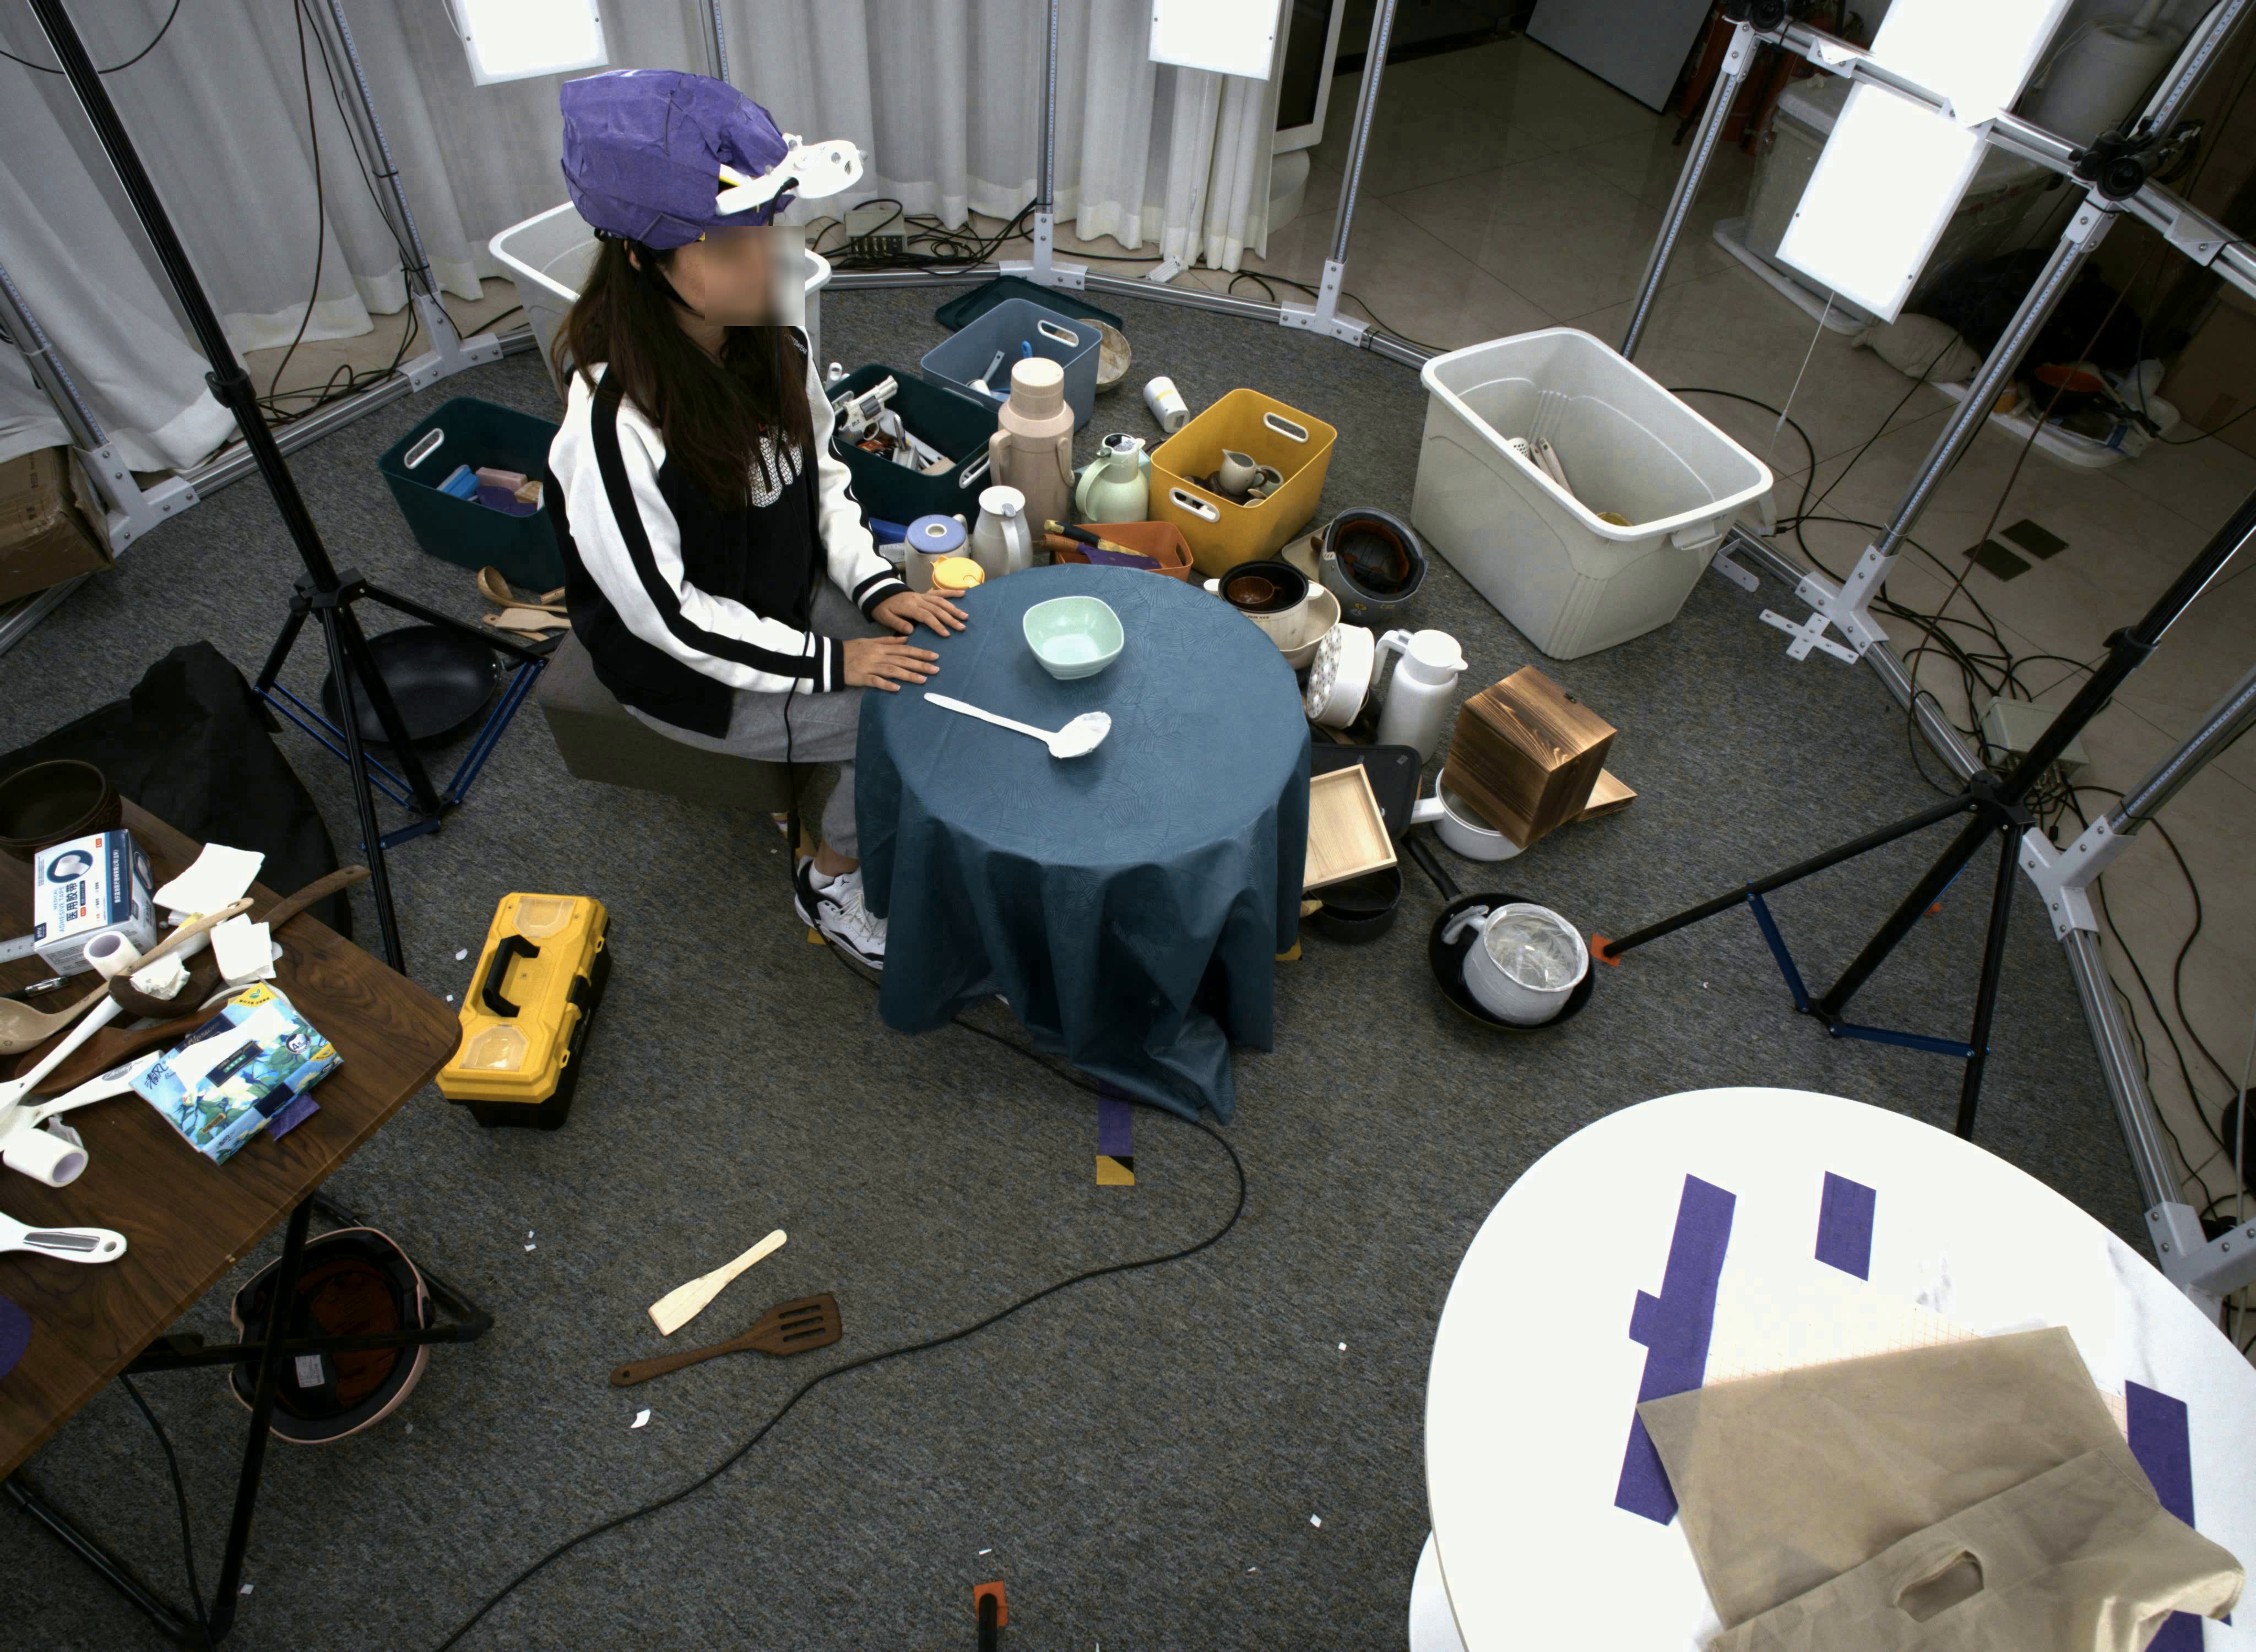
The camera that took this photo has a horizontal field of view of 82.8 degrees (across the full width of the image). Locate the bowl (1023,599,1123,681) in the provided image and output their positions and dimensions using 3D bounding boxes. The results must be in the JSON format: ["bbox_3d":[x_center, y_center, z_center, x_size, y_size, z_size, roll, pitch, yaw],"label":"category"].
[{"bbox_3d":[-0.080,-0.261,1.858,0.151,0.057,0.155,2,49,-2],"label":"bowl"}]

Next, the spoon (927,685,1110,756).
[{"bbox_3d":[-0.154,-0.163,1.764,0.279,0.058,0.102,23,47,15],"label":"spoon"}]
